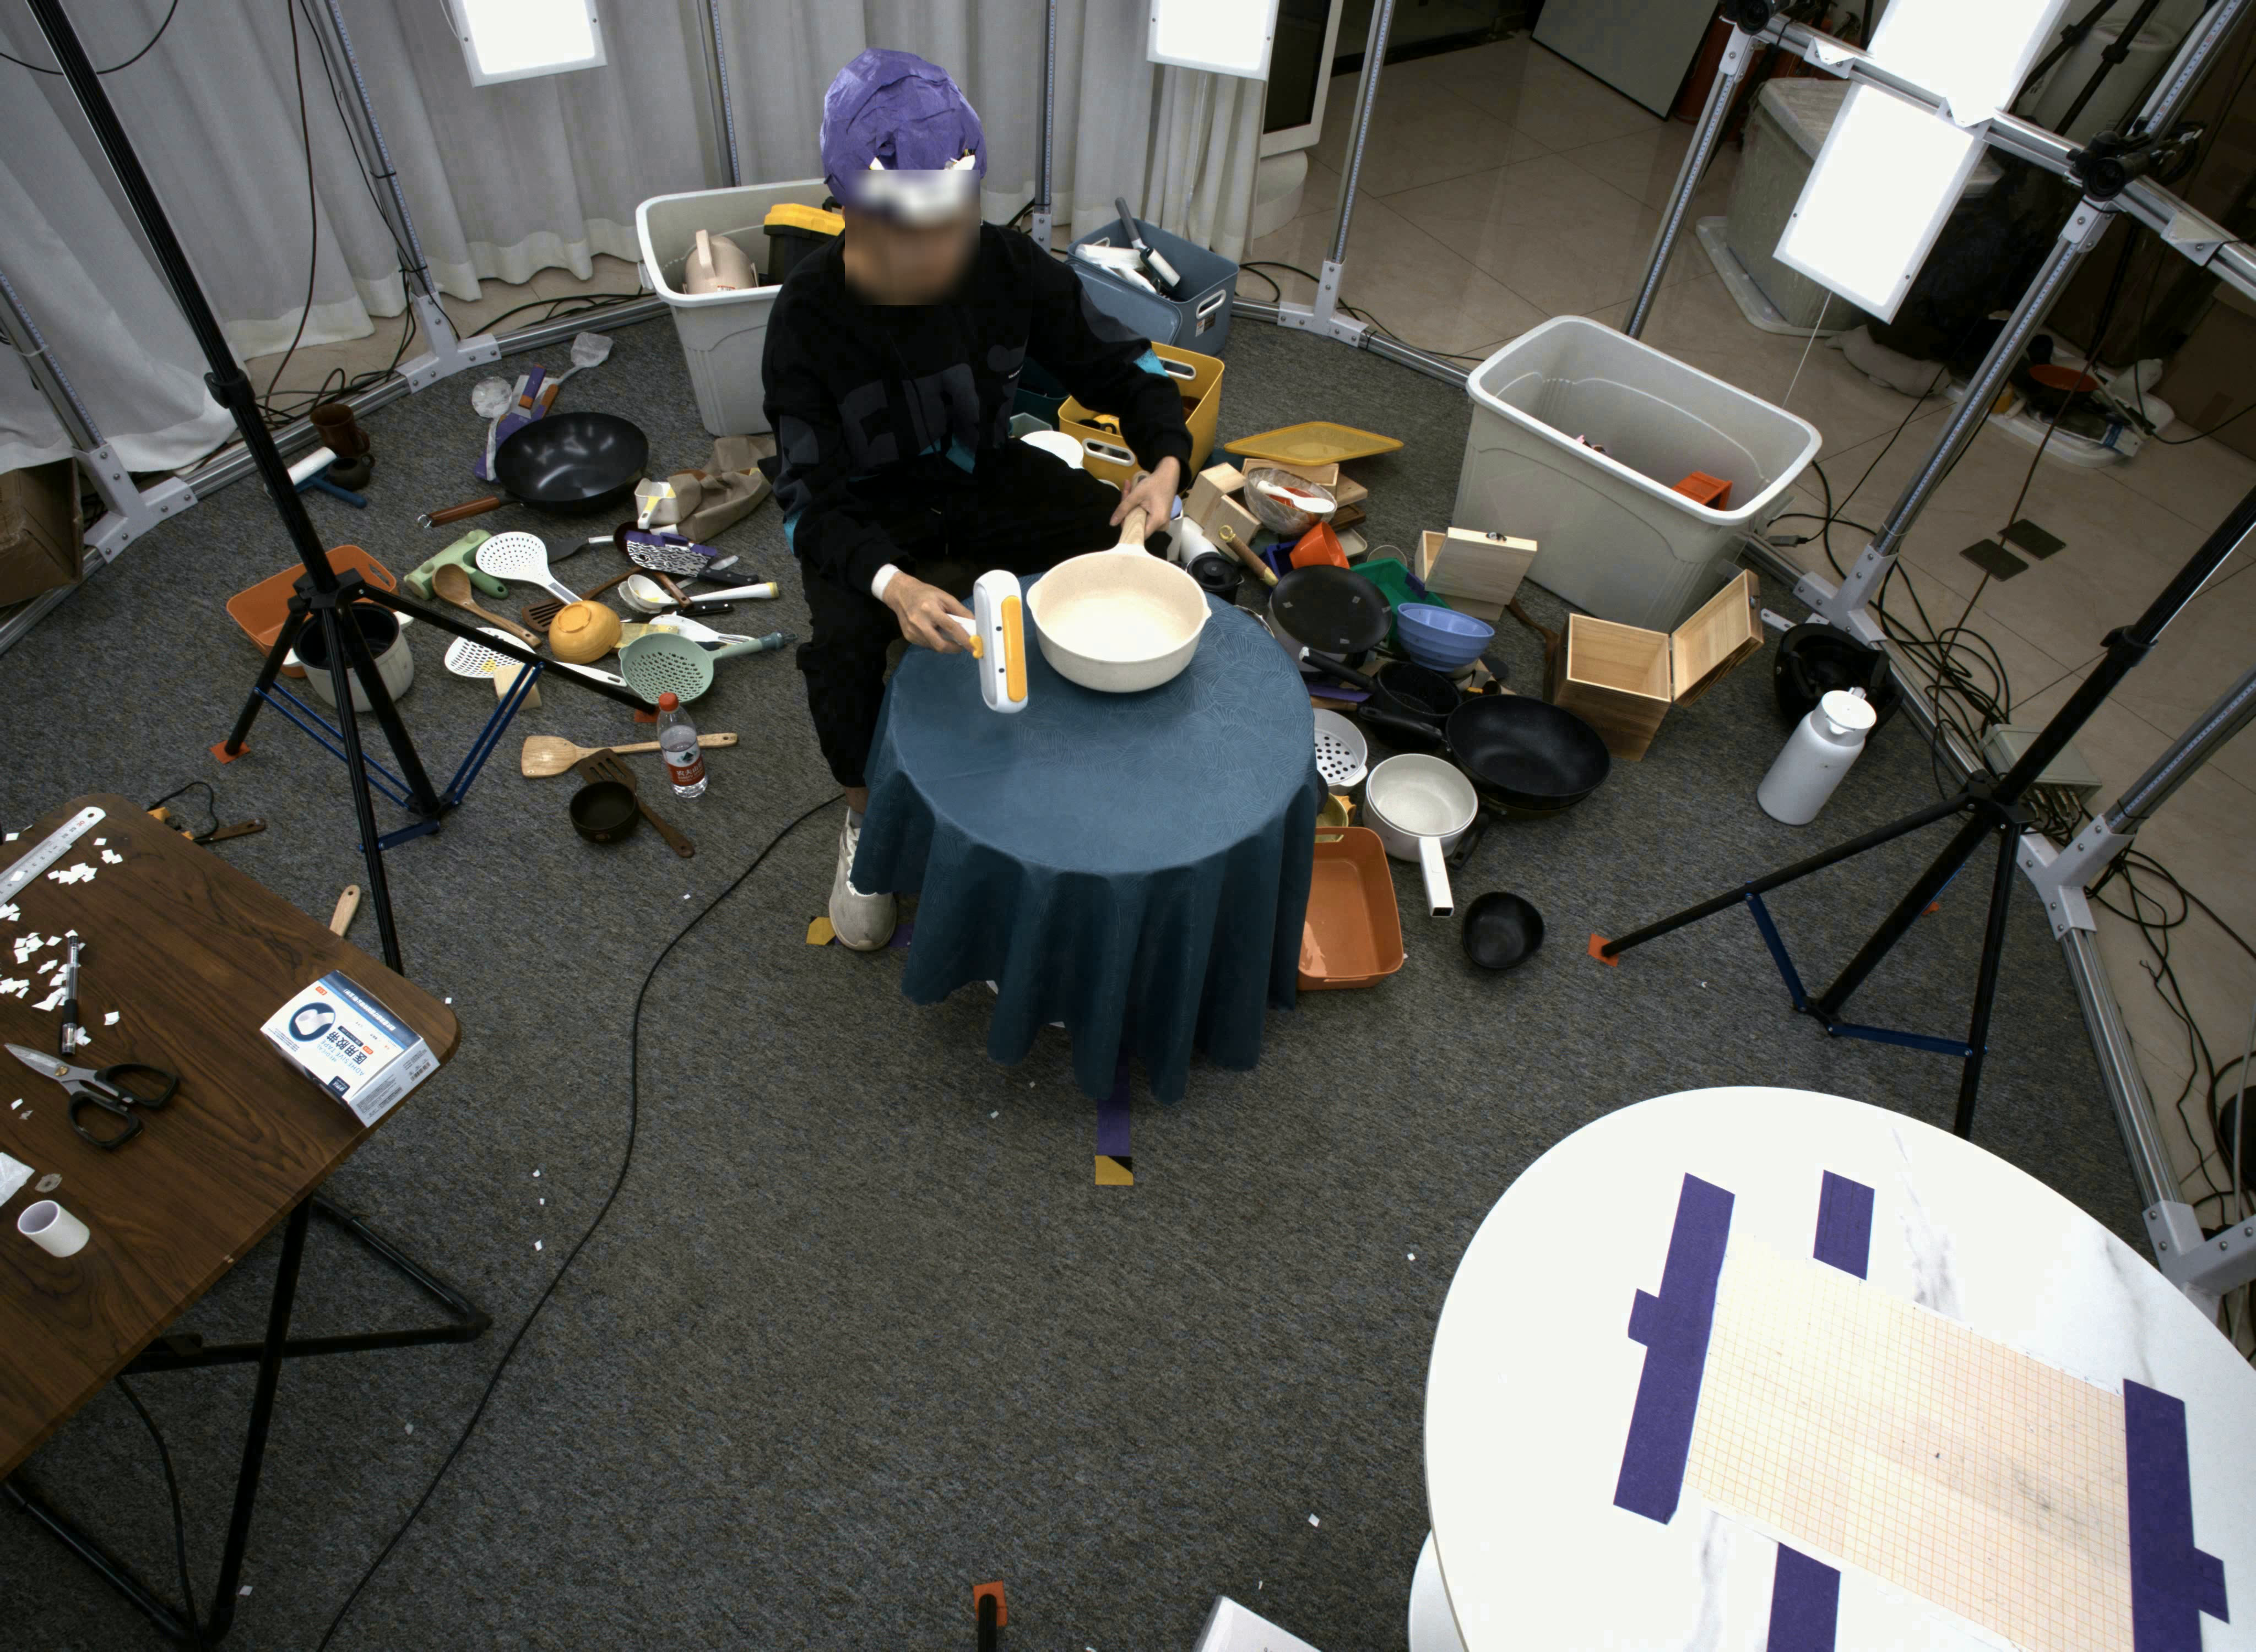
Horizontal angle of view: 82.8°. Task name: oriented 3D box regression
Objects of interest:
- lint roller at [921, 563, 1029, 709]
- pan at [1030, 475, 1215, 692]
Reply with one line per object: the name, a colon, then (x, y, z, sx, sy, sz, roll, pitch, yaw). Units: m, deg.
lint roller: (-0.209, -0.262, 1.735, 0.074, 0.189, 0.195, -24, 29, -30)
pan: (0.002, -0.362, 1.917, 0.263, 0.099, 0.445, 4, 46, 4)
